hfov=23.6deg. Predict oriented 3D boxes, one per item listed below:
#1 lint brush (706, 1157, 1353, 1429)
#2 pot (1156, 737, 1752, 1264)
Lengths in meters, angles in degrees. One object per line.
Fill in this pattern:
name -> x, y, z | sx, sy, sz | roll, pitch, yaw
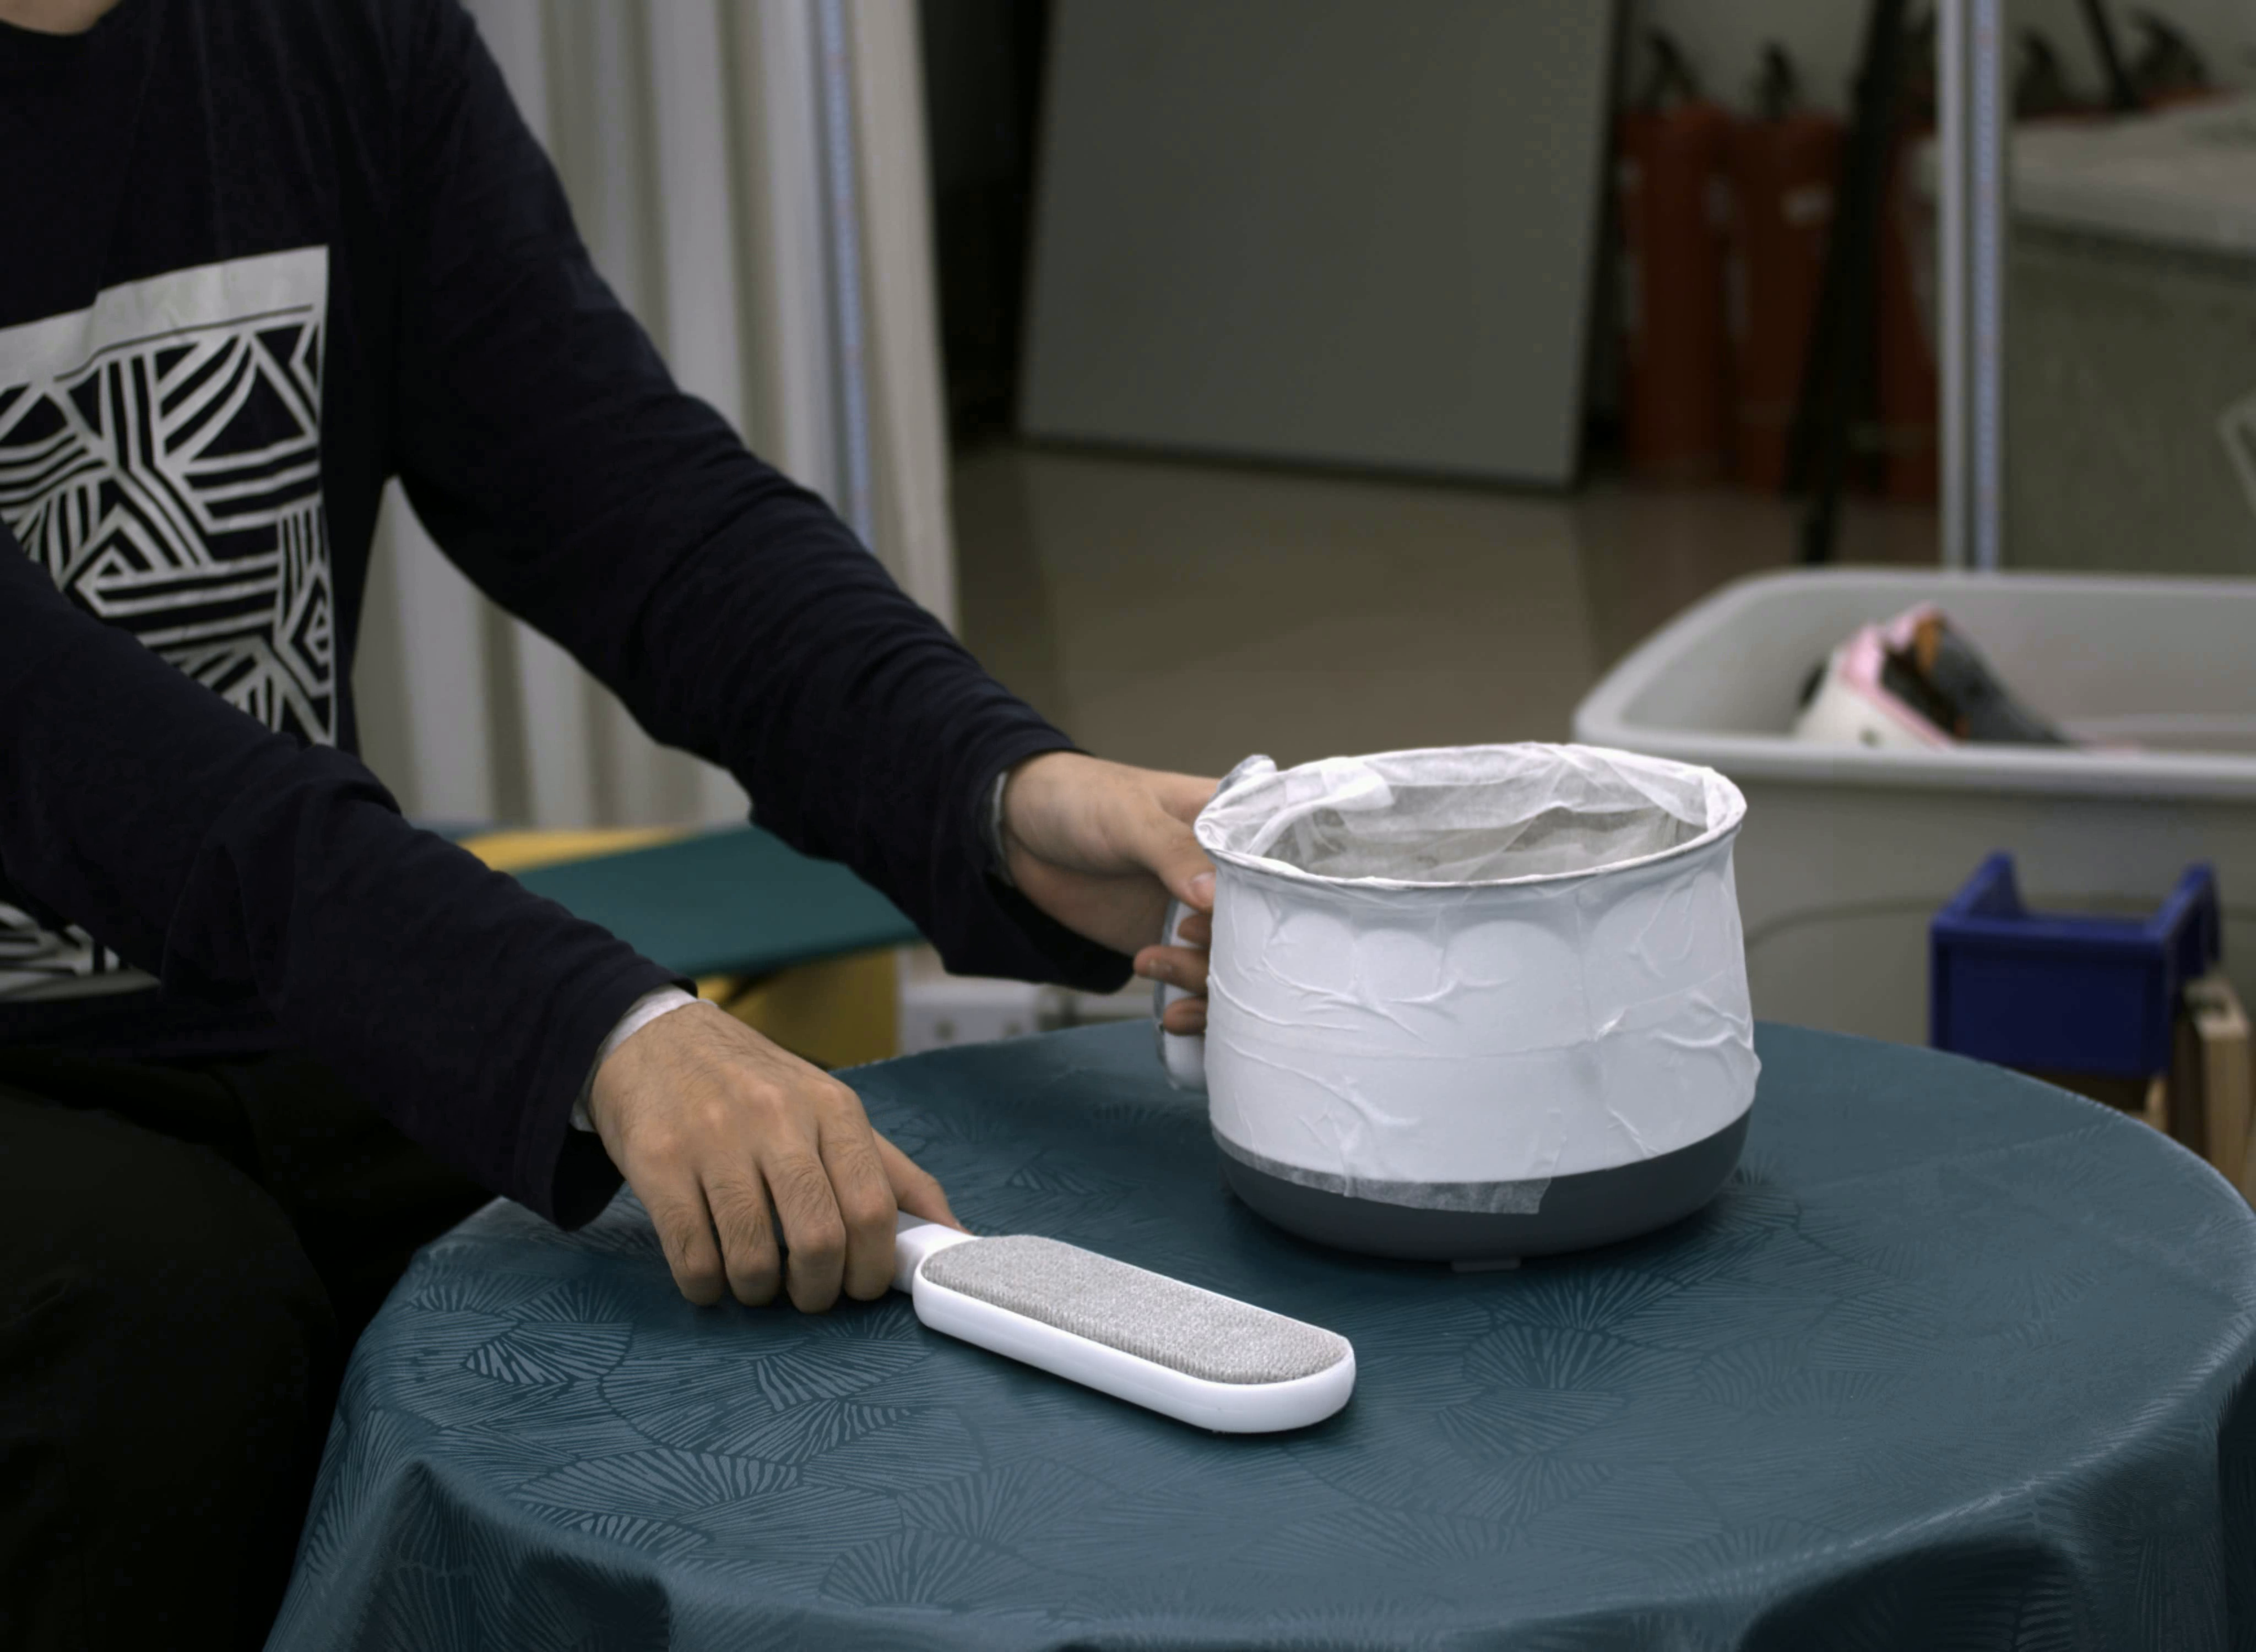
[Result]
lint brush -> -0.038, 0.139, 1.656 | 0.059, 0.021, 0.312 | -21, 20, -33
pot -> 0.093, 0.049, 1.741 | 0.175, 0.138, 0.236 | -12, 16, -40
